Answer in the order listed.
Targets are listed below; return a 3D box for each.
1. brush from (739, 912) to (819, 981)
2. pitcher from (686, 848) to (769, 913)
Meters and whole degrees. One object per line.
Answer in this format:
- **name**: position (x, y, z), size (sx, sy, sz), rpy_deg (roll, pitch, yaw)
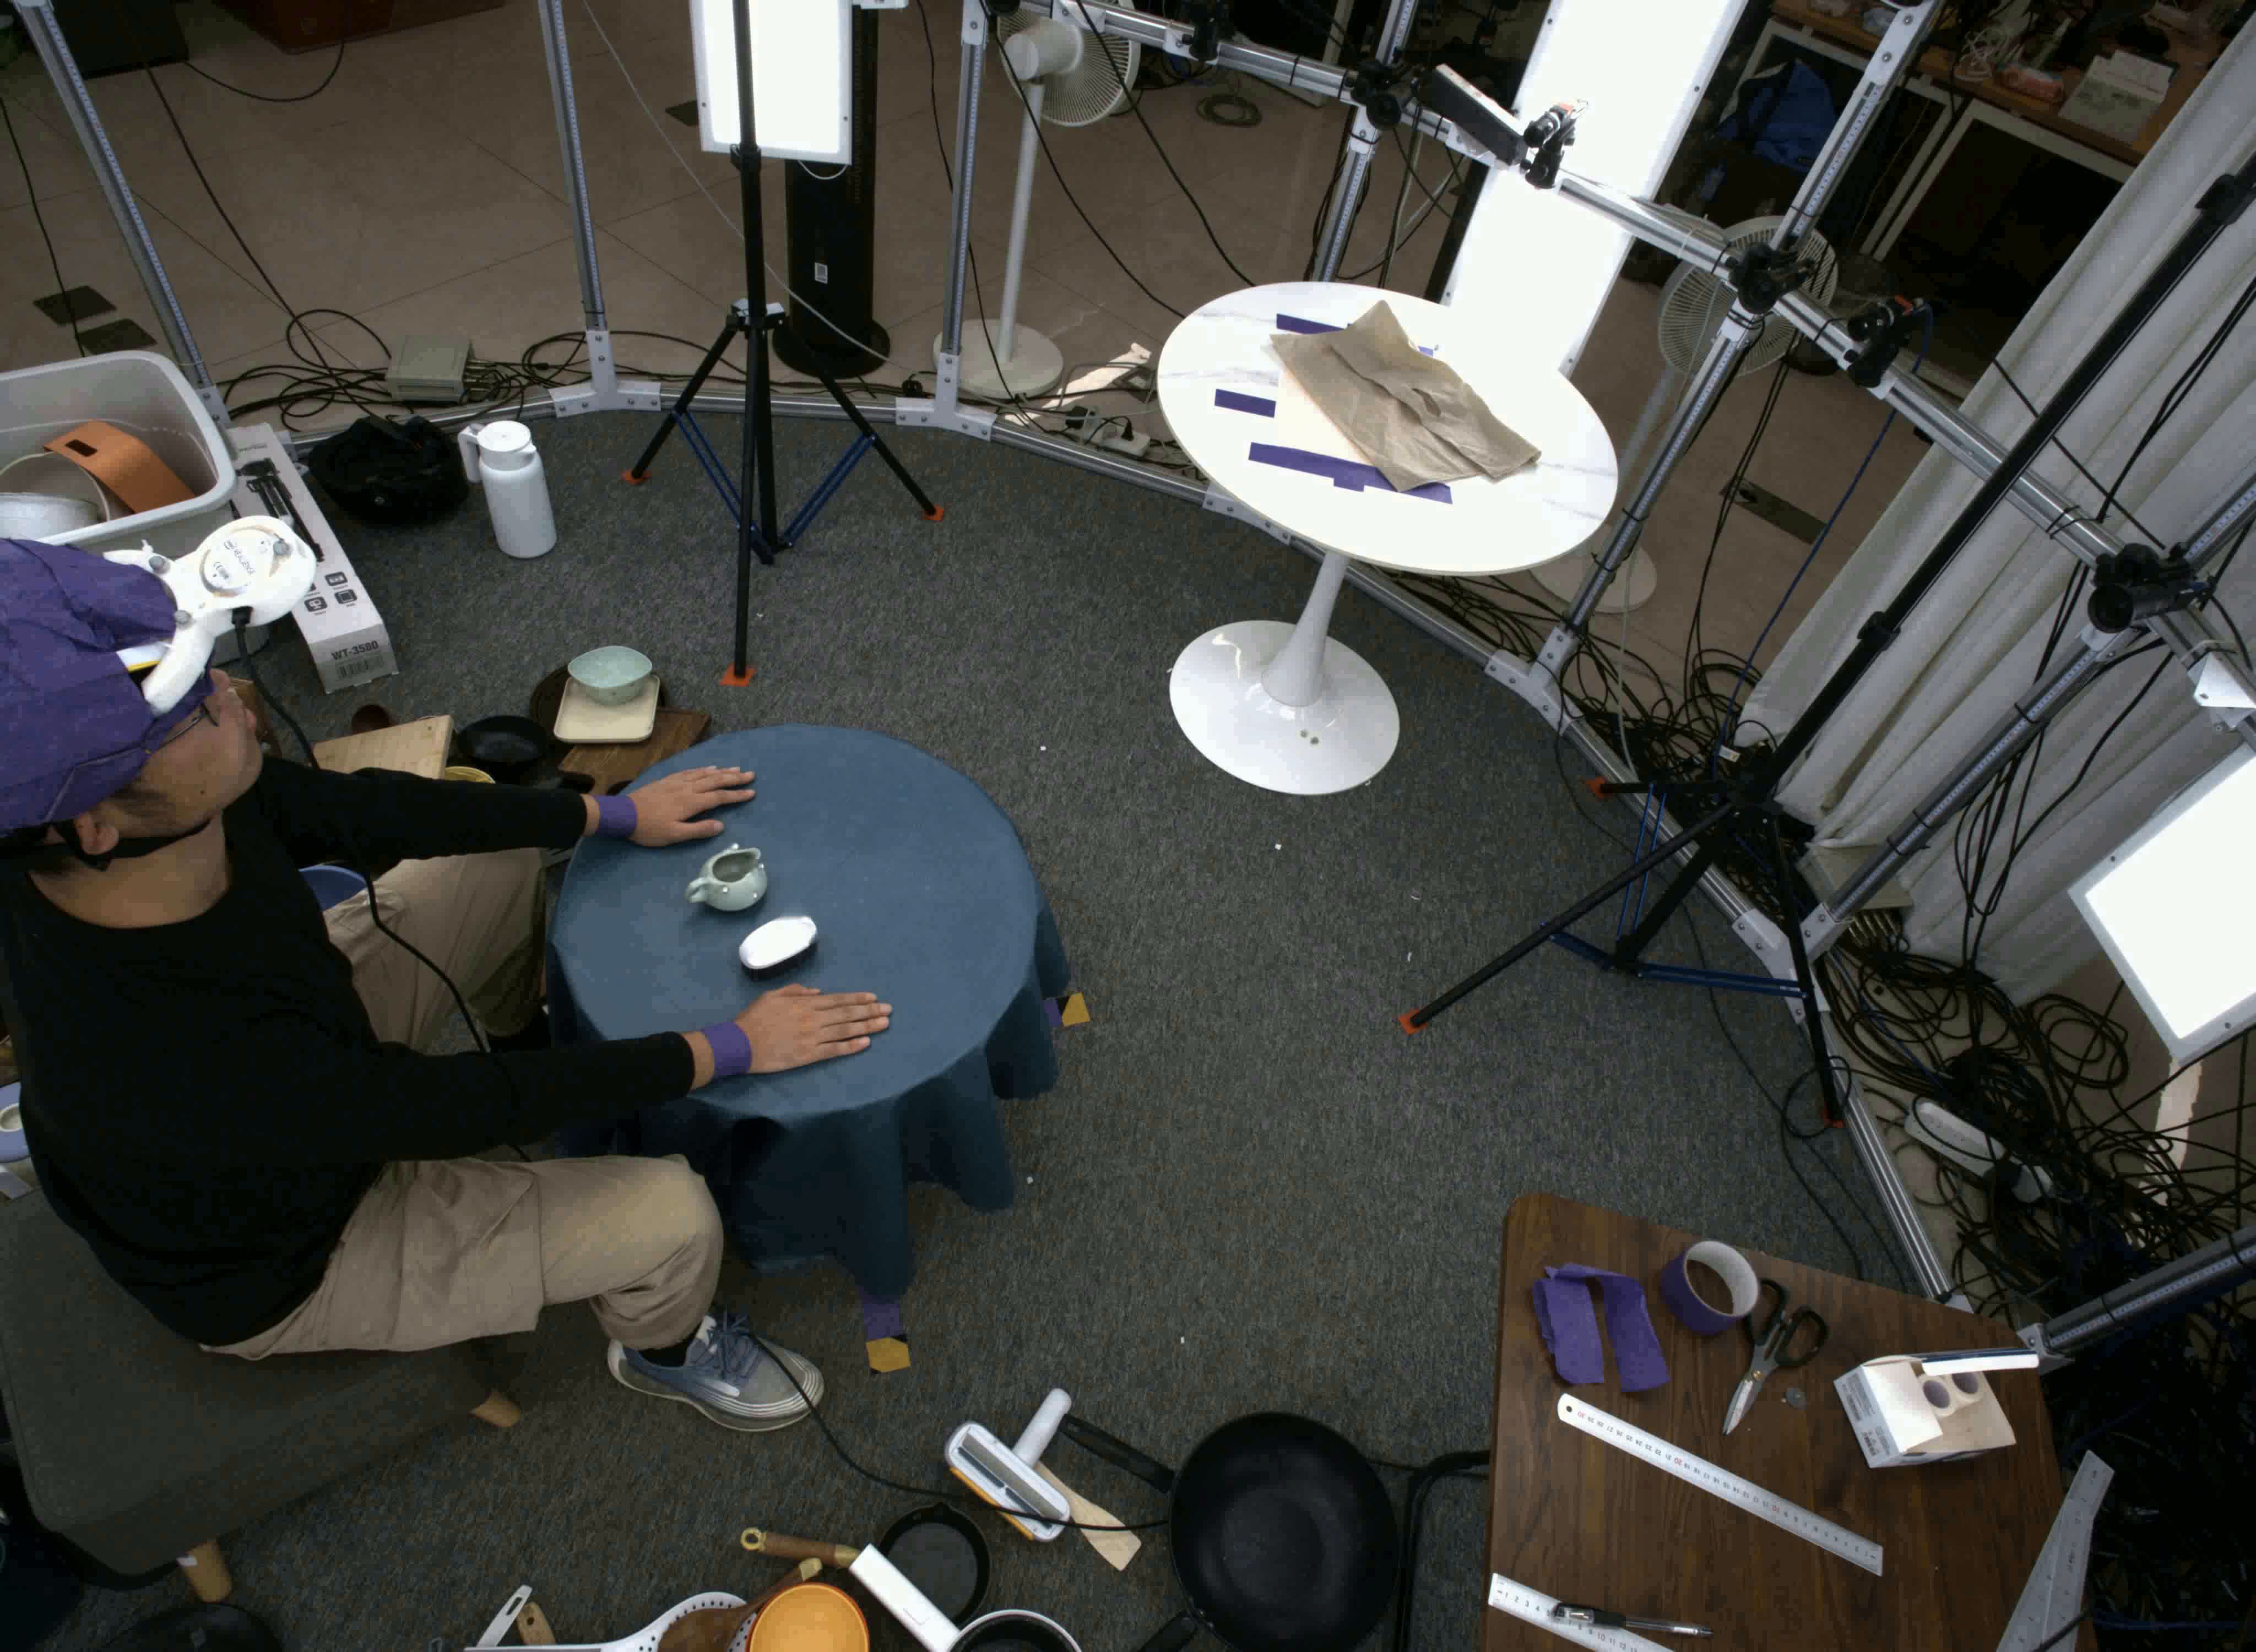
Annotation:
- **brush**: position (-0.426, 0.138, 1.577), size (0.100, 0.074, 0.049), rpy_deg (-25, 61, -29)
- **pitcher**: position (-0.505, 0.070, 1.620), size (0.084, 0.062, 0.108), rpy_deg (42, 58, 19)
